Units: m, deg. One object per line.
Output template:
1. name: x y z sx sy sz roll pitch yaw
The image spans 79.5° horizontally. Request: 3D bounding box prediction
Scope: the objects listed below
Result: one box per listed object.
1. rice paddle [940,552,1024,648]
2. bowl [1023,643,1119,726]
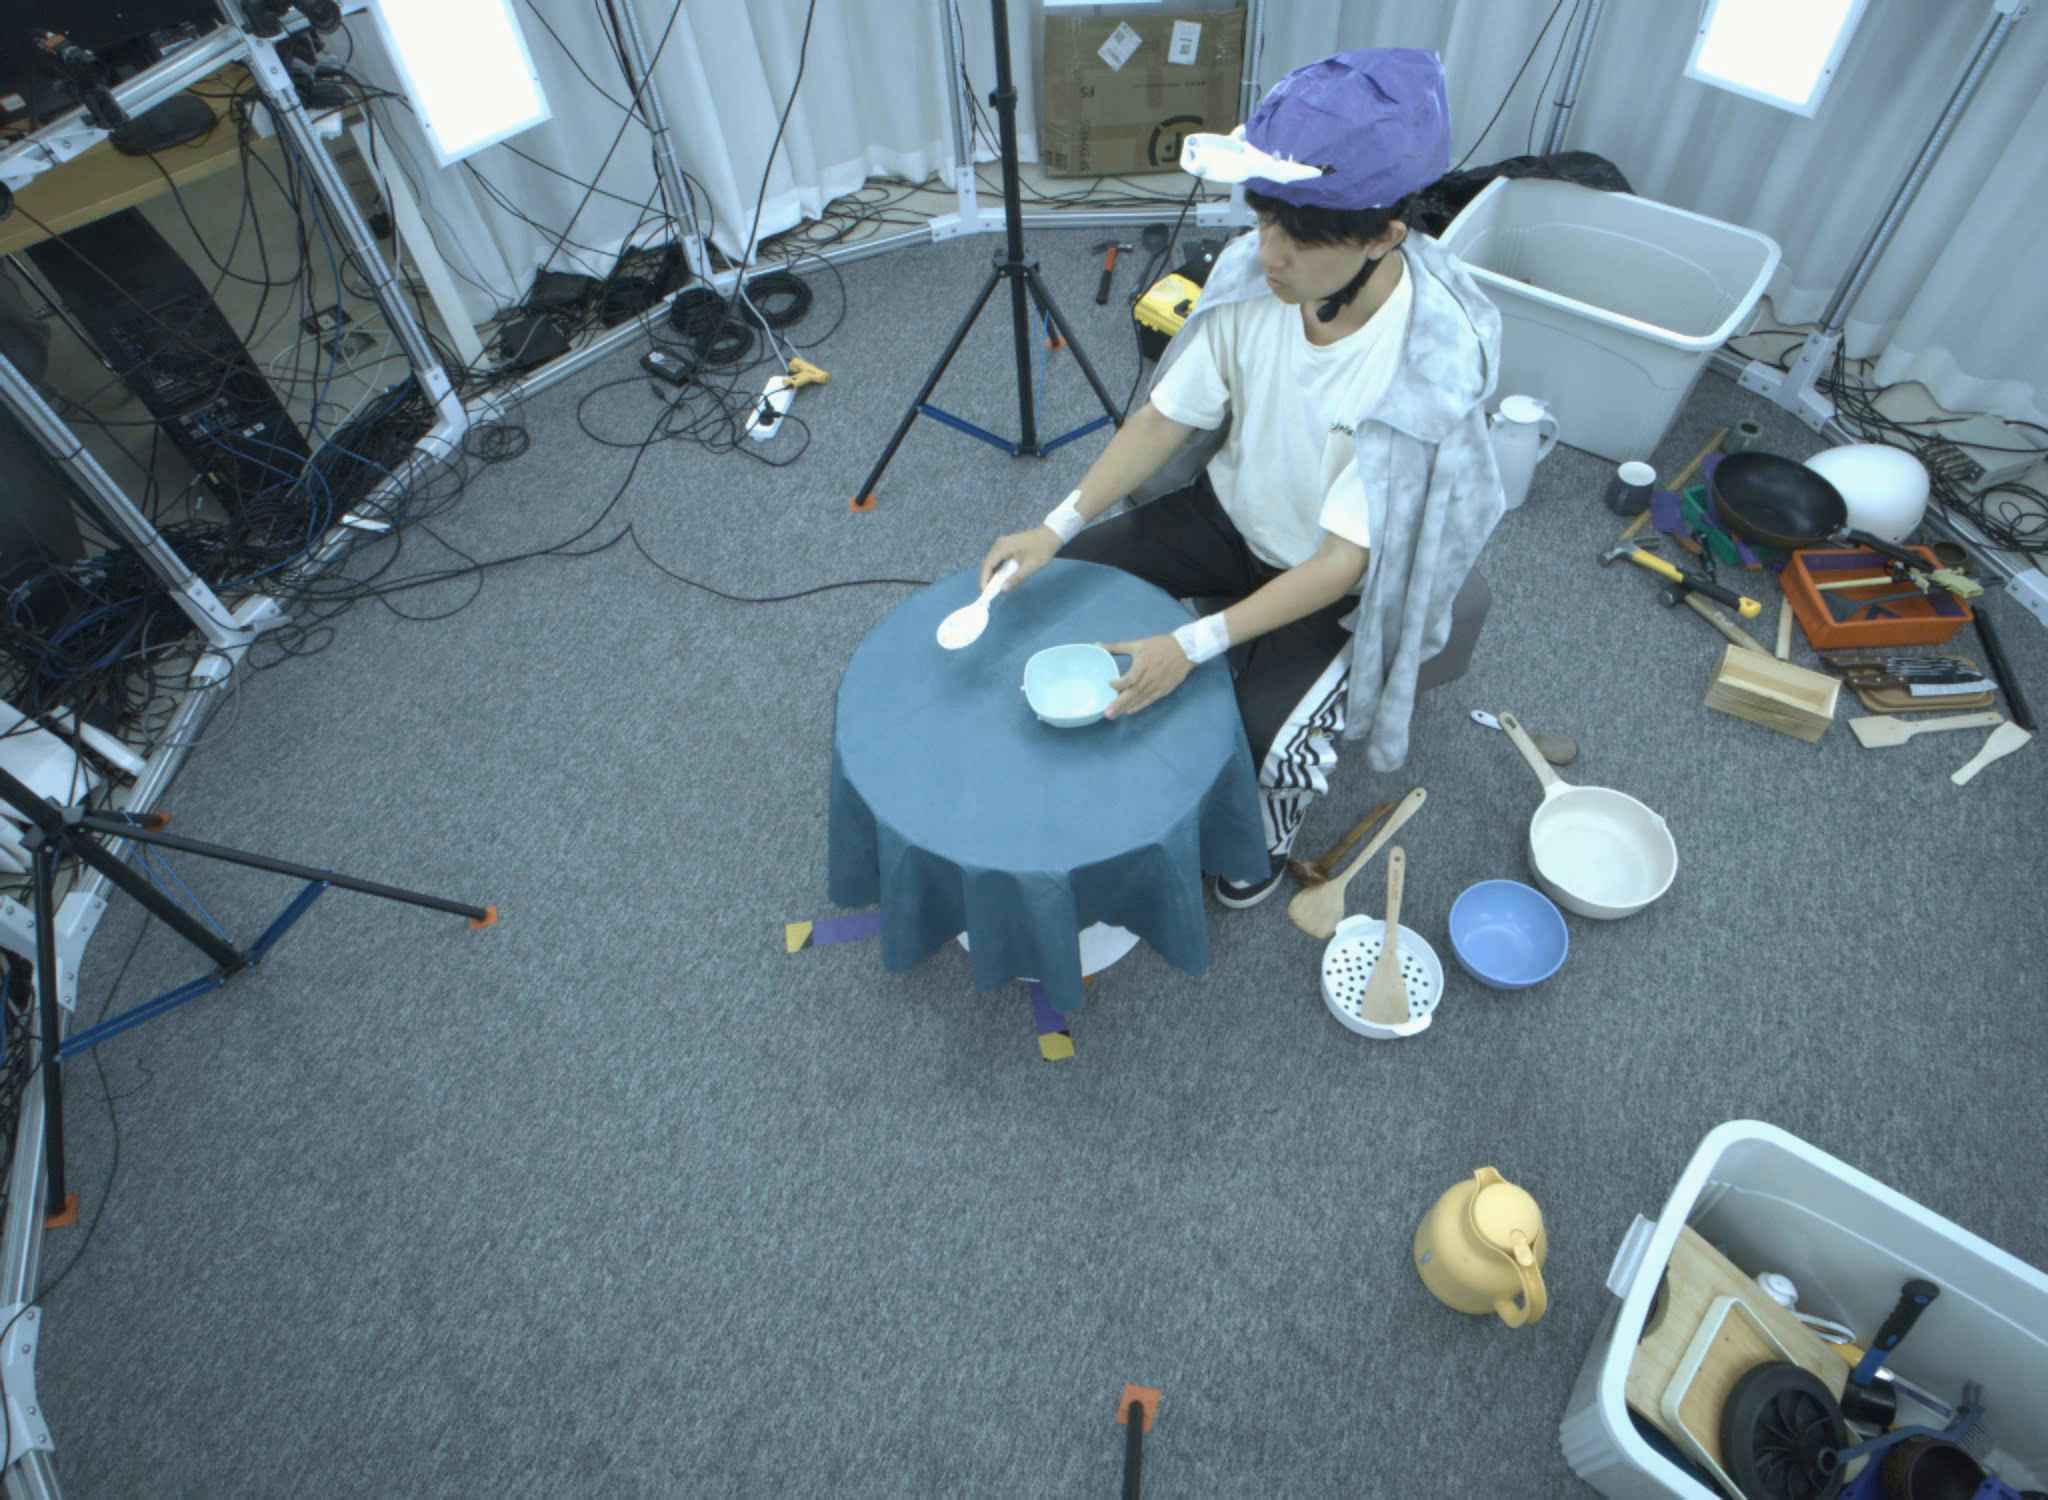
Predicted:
1. rice paddle: -0.061 -0.225 1.854 0.067 0.030 0.206 14 53 28
2. bowl: 0.071 -0.086 1.811 0.151 0.059 0.150 -3 53 5
